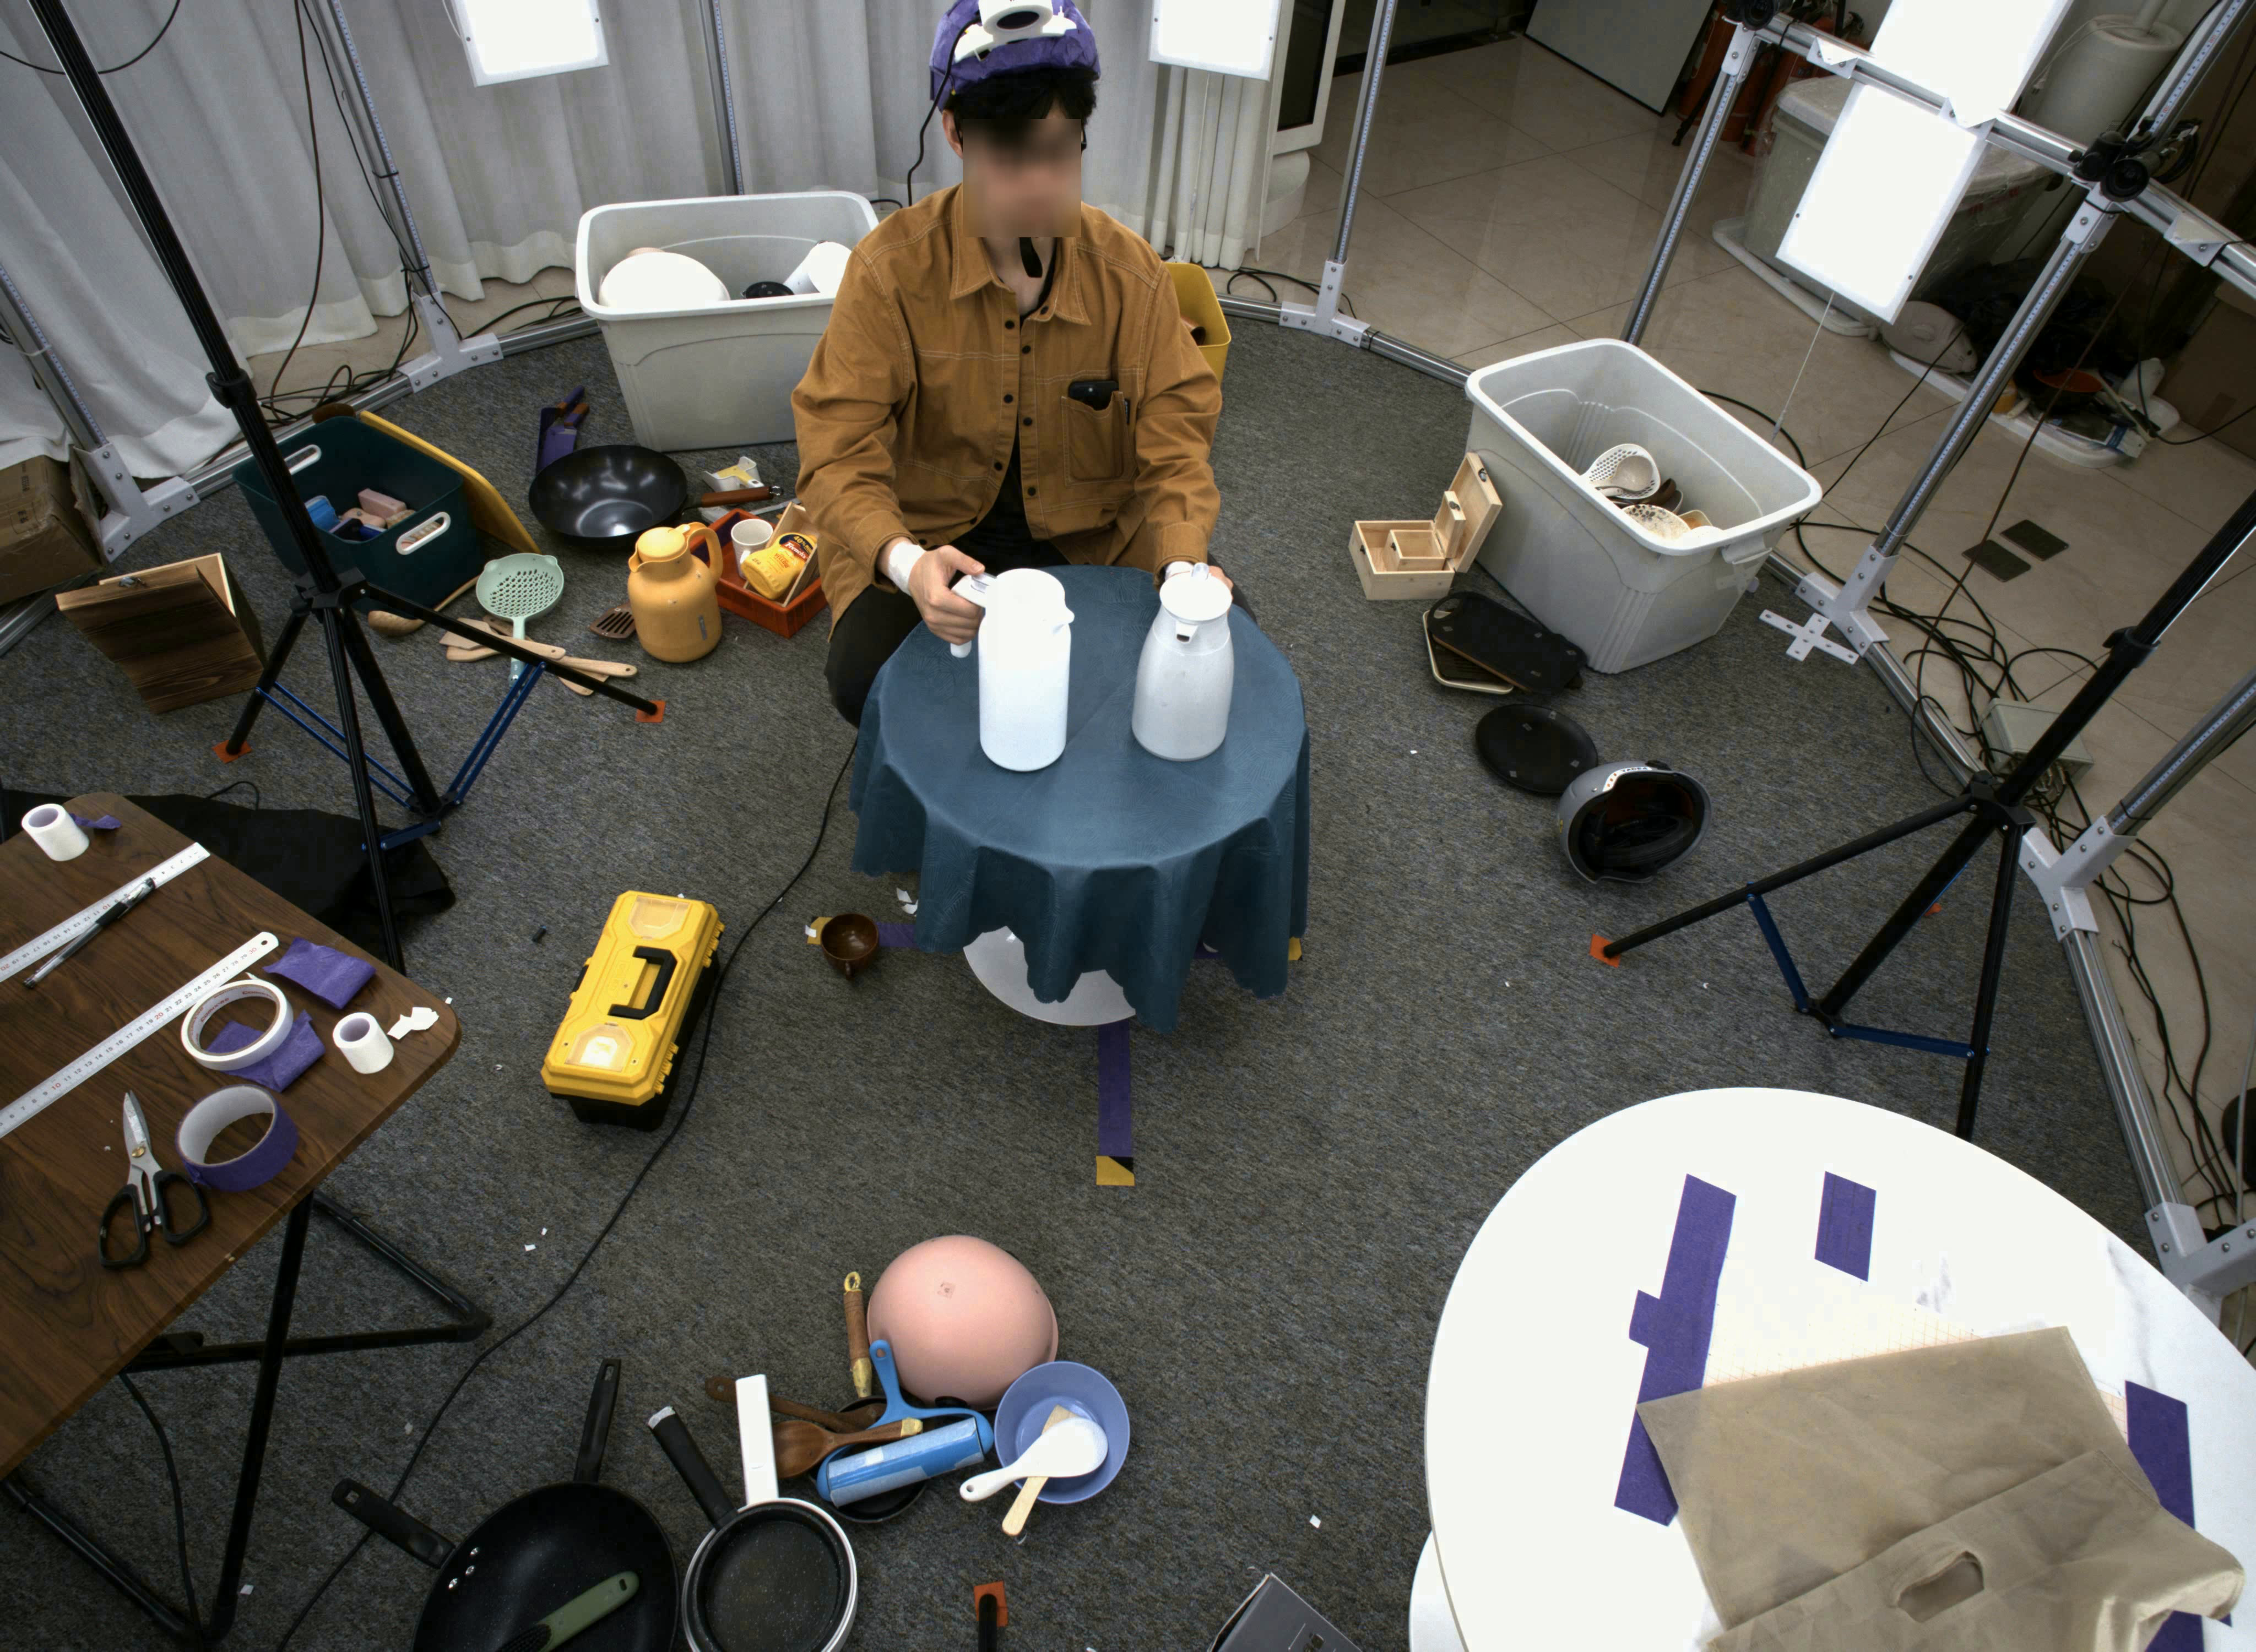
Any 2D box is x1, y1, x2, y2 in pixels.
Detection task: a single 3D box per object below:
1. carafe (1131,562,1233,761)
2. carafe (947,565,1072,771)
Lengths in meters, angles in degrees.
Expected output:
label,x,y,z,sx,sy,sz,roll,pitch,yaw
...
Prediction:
label,x,y,z,sx,sy,sz,roll,pitch,yaw
carafe,0.081,-0.231,1.715,0.133,0.242,0.171,13,49,7
carafe,-0.152,-0.205,1.665,0.174,0.262,0.126,24,54,16
